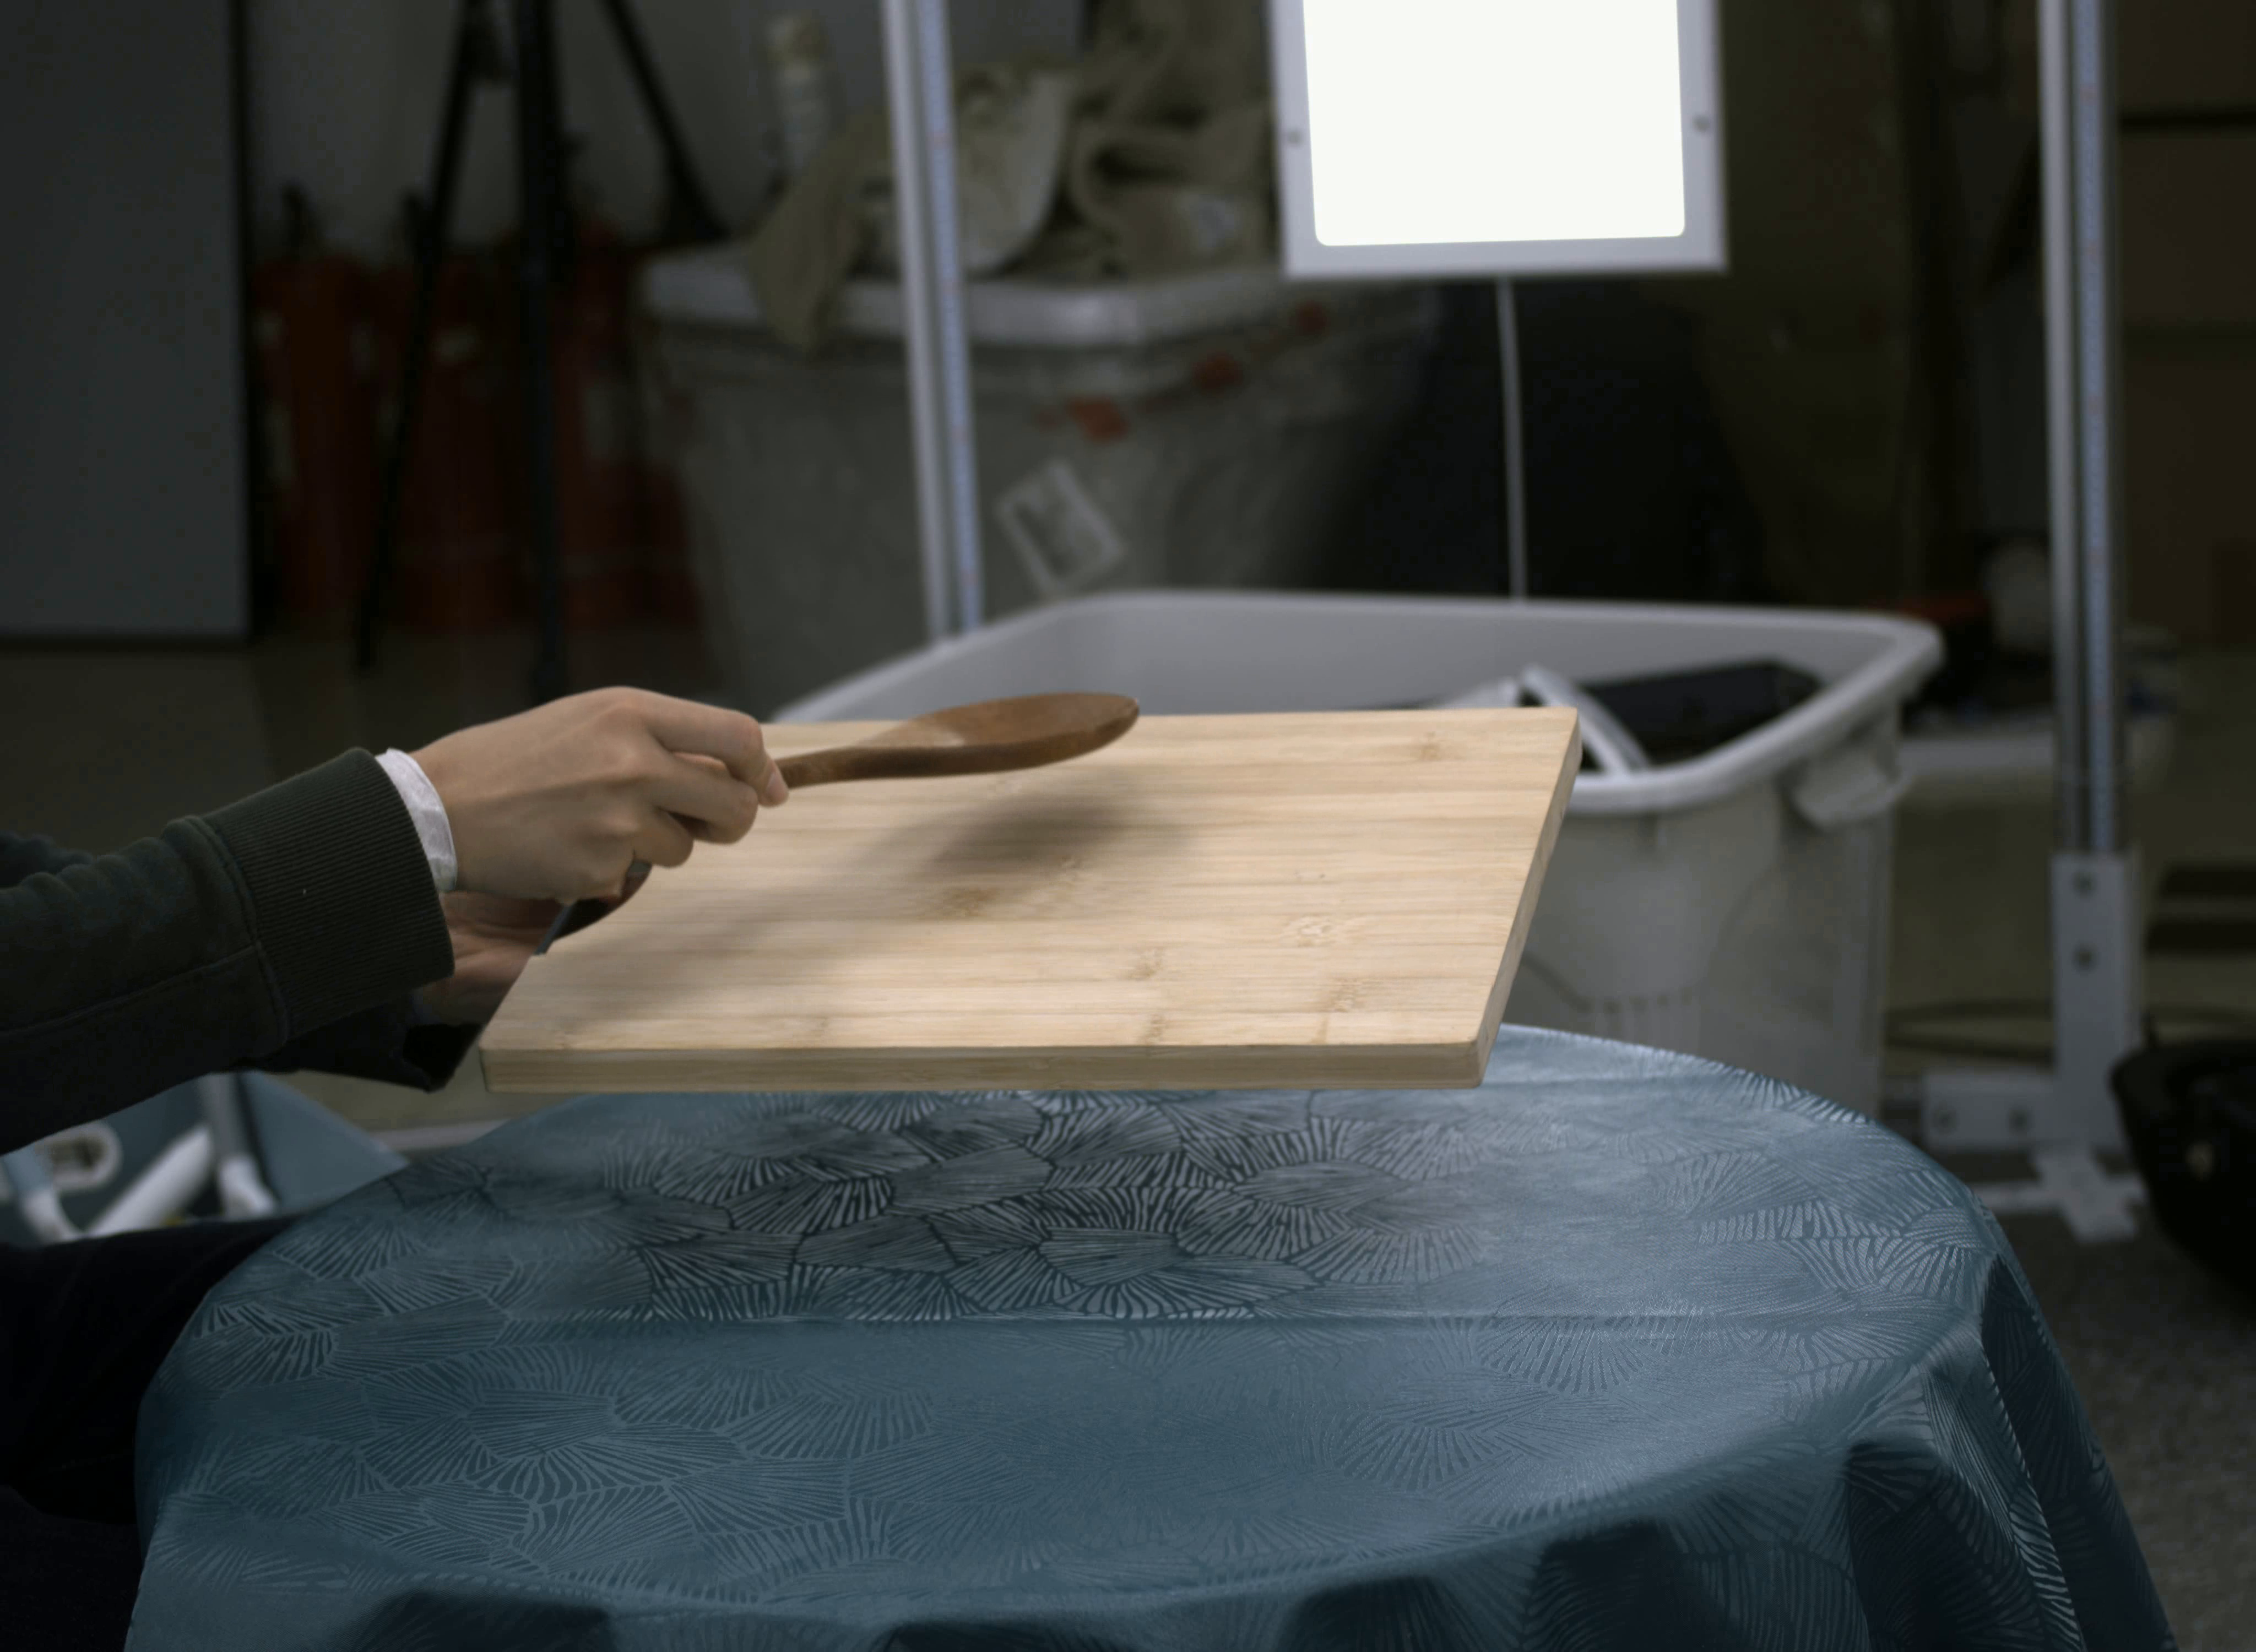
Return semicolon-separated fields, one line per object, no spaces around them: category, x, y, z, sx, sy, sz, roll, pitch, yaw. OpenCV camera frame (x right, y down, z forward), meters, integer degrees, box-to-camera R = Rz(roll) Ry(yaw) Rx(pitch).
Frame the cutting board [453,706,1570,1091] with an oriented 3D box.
cutting board;-0.034;0.024;1.895;0.352;0.023;0.247;-2;27;15

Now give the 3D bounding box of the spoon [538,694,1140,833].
spoon;-0.098;-0.020;1.881;0.212;0.017;0.076;-9;15;-18
